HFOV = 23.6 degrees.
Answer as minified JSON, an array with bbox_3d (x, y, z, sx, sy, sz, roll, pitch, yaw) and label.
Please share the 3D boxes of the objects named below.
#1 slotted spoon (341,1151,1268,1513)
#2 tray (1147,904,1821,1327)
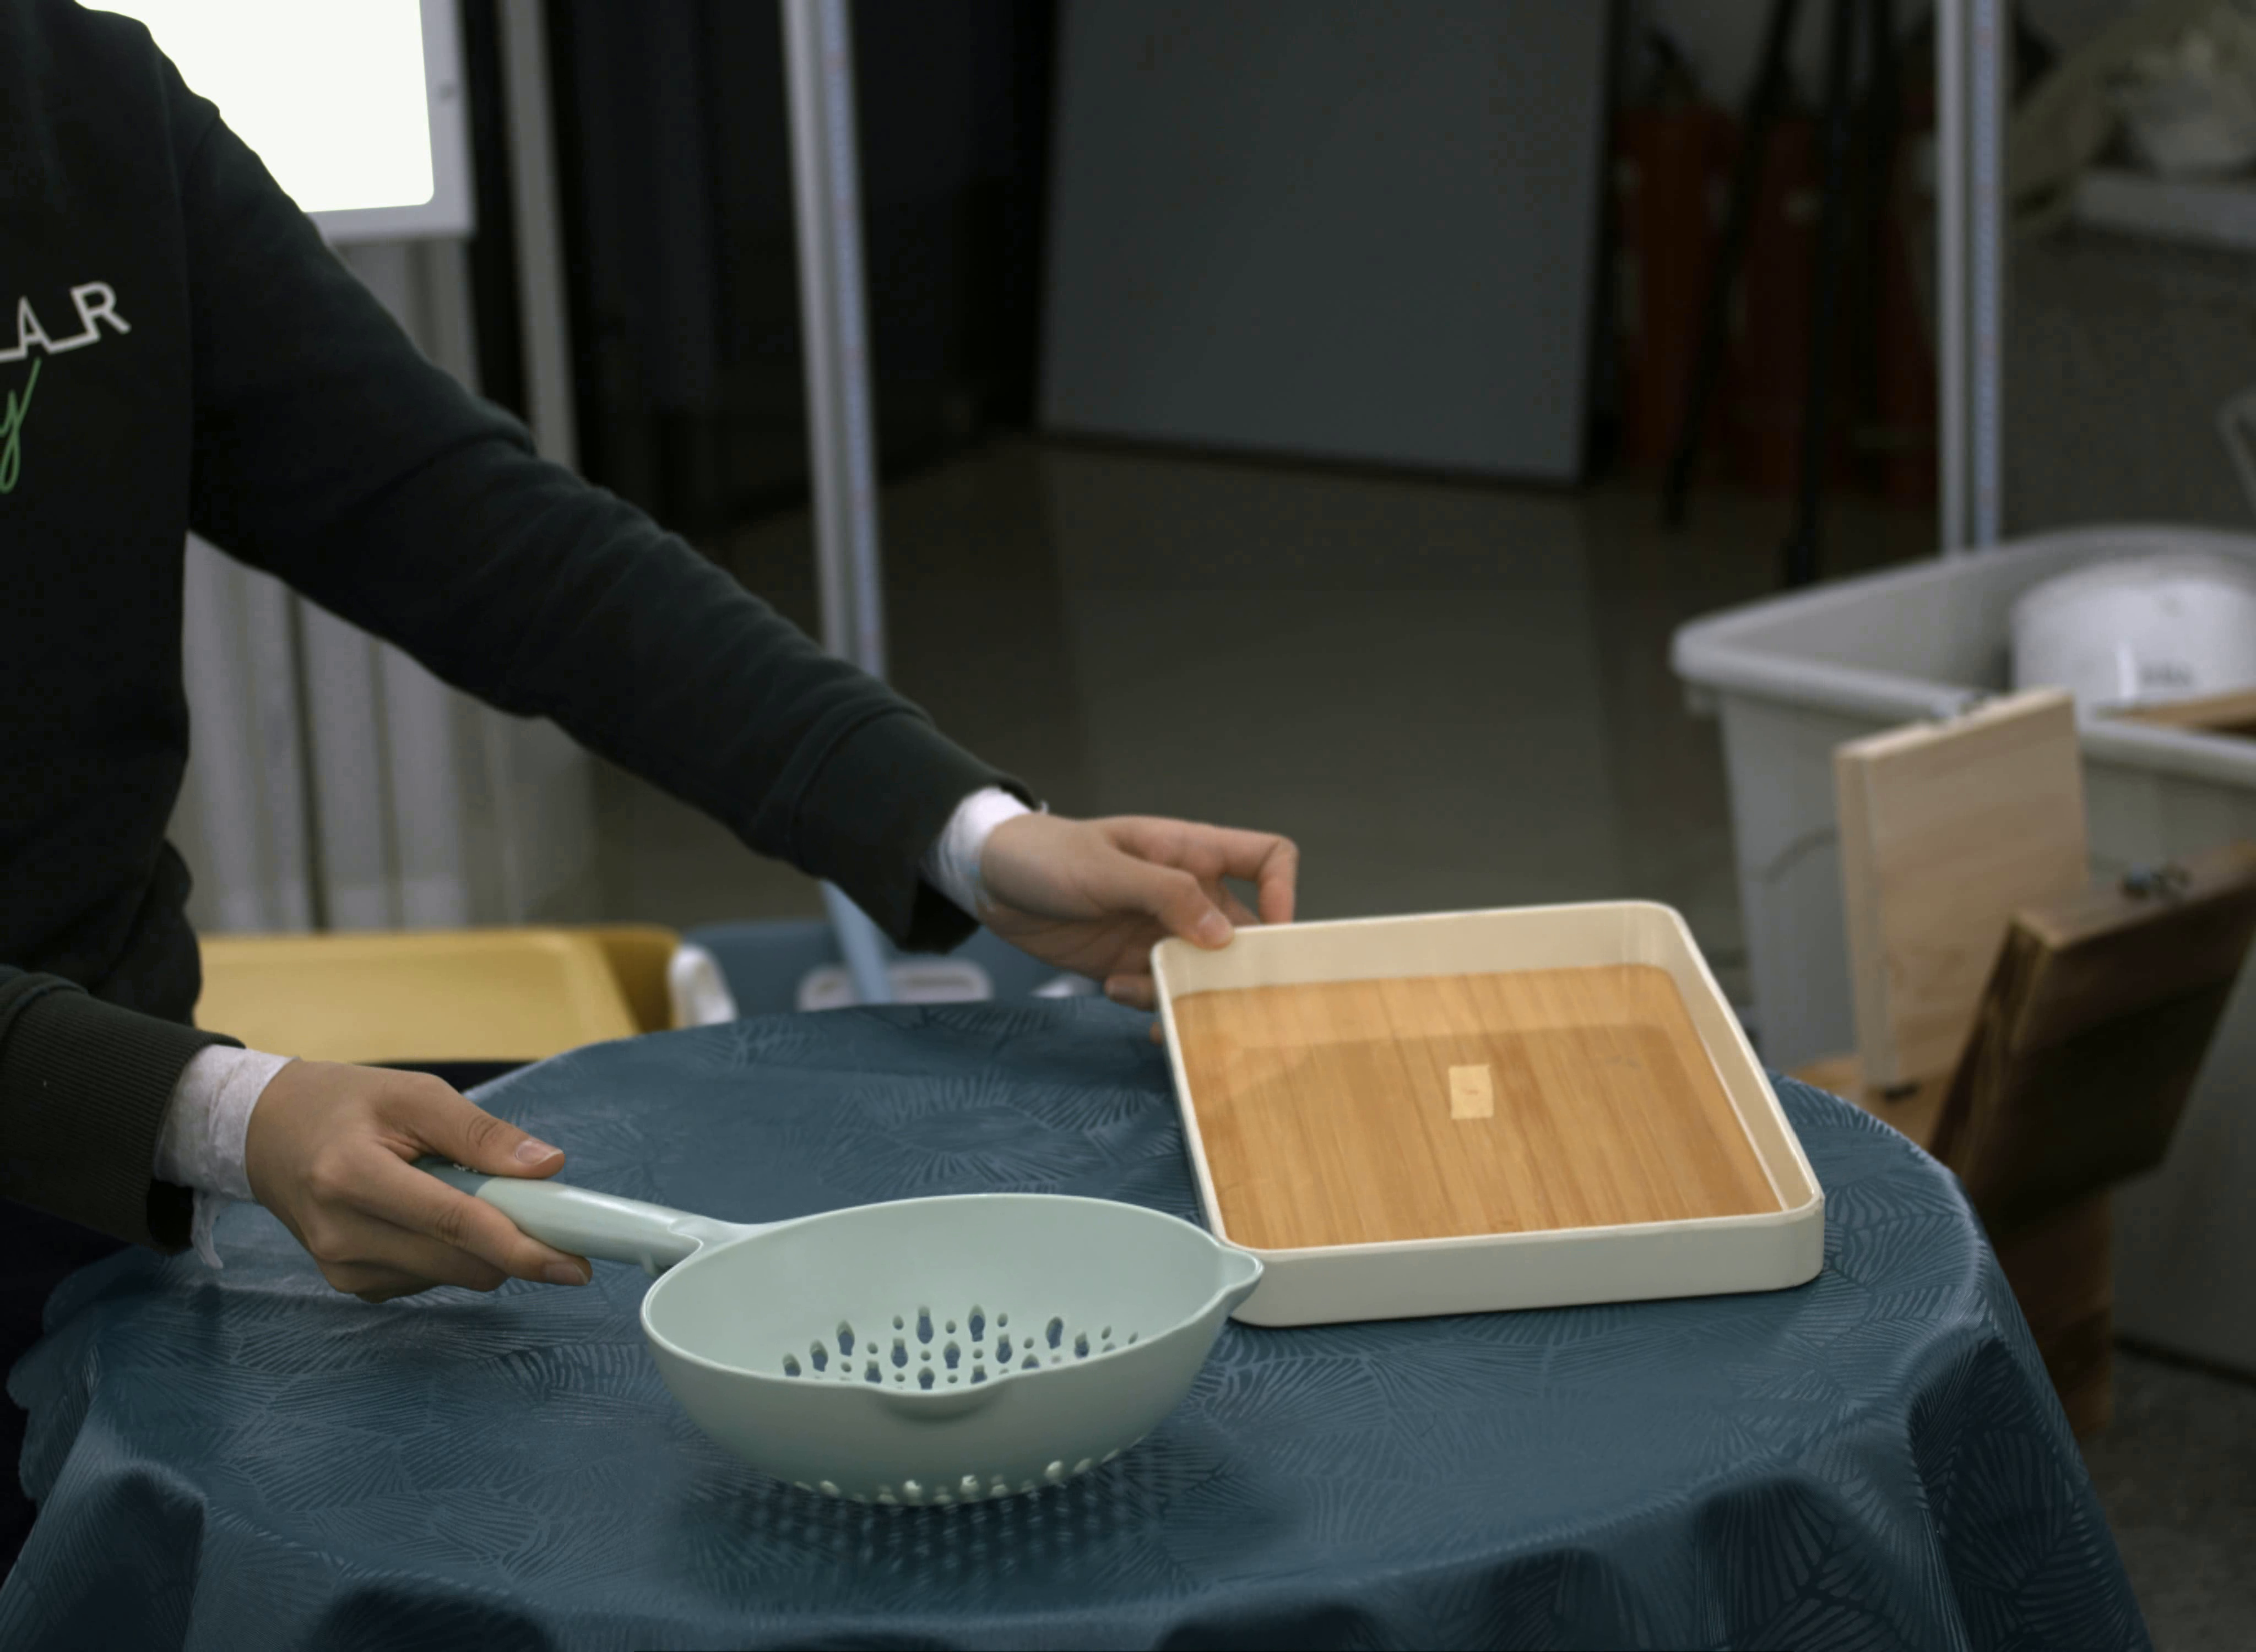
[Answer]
[{"bbox_3d":[-0.120,0.131,1.589,0.166,0.076,0.362,-16,25,-42],"label":"slotted spoon"},{"bbox_3d":[0.110,0.090,1.767,0.189,0.028,0.301,-5,17,-2],"label":"tray"}]
